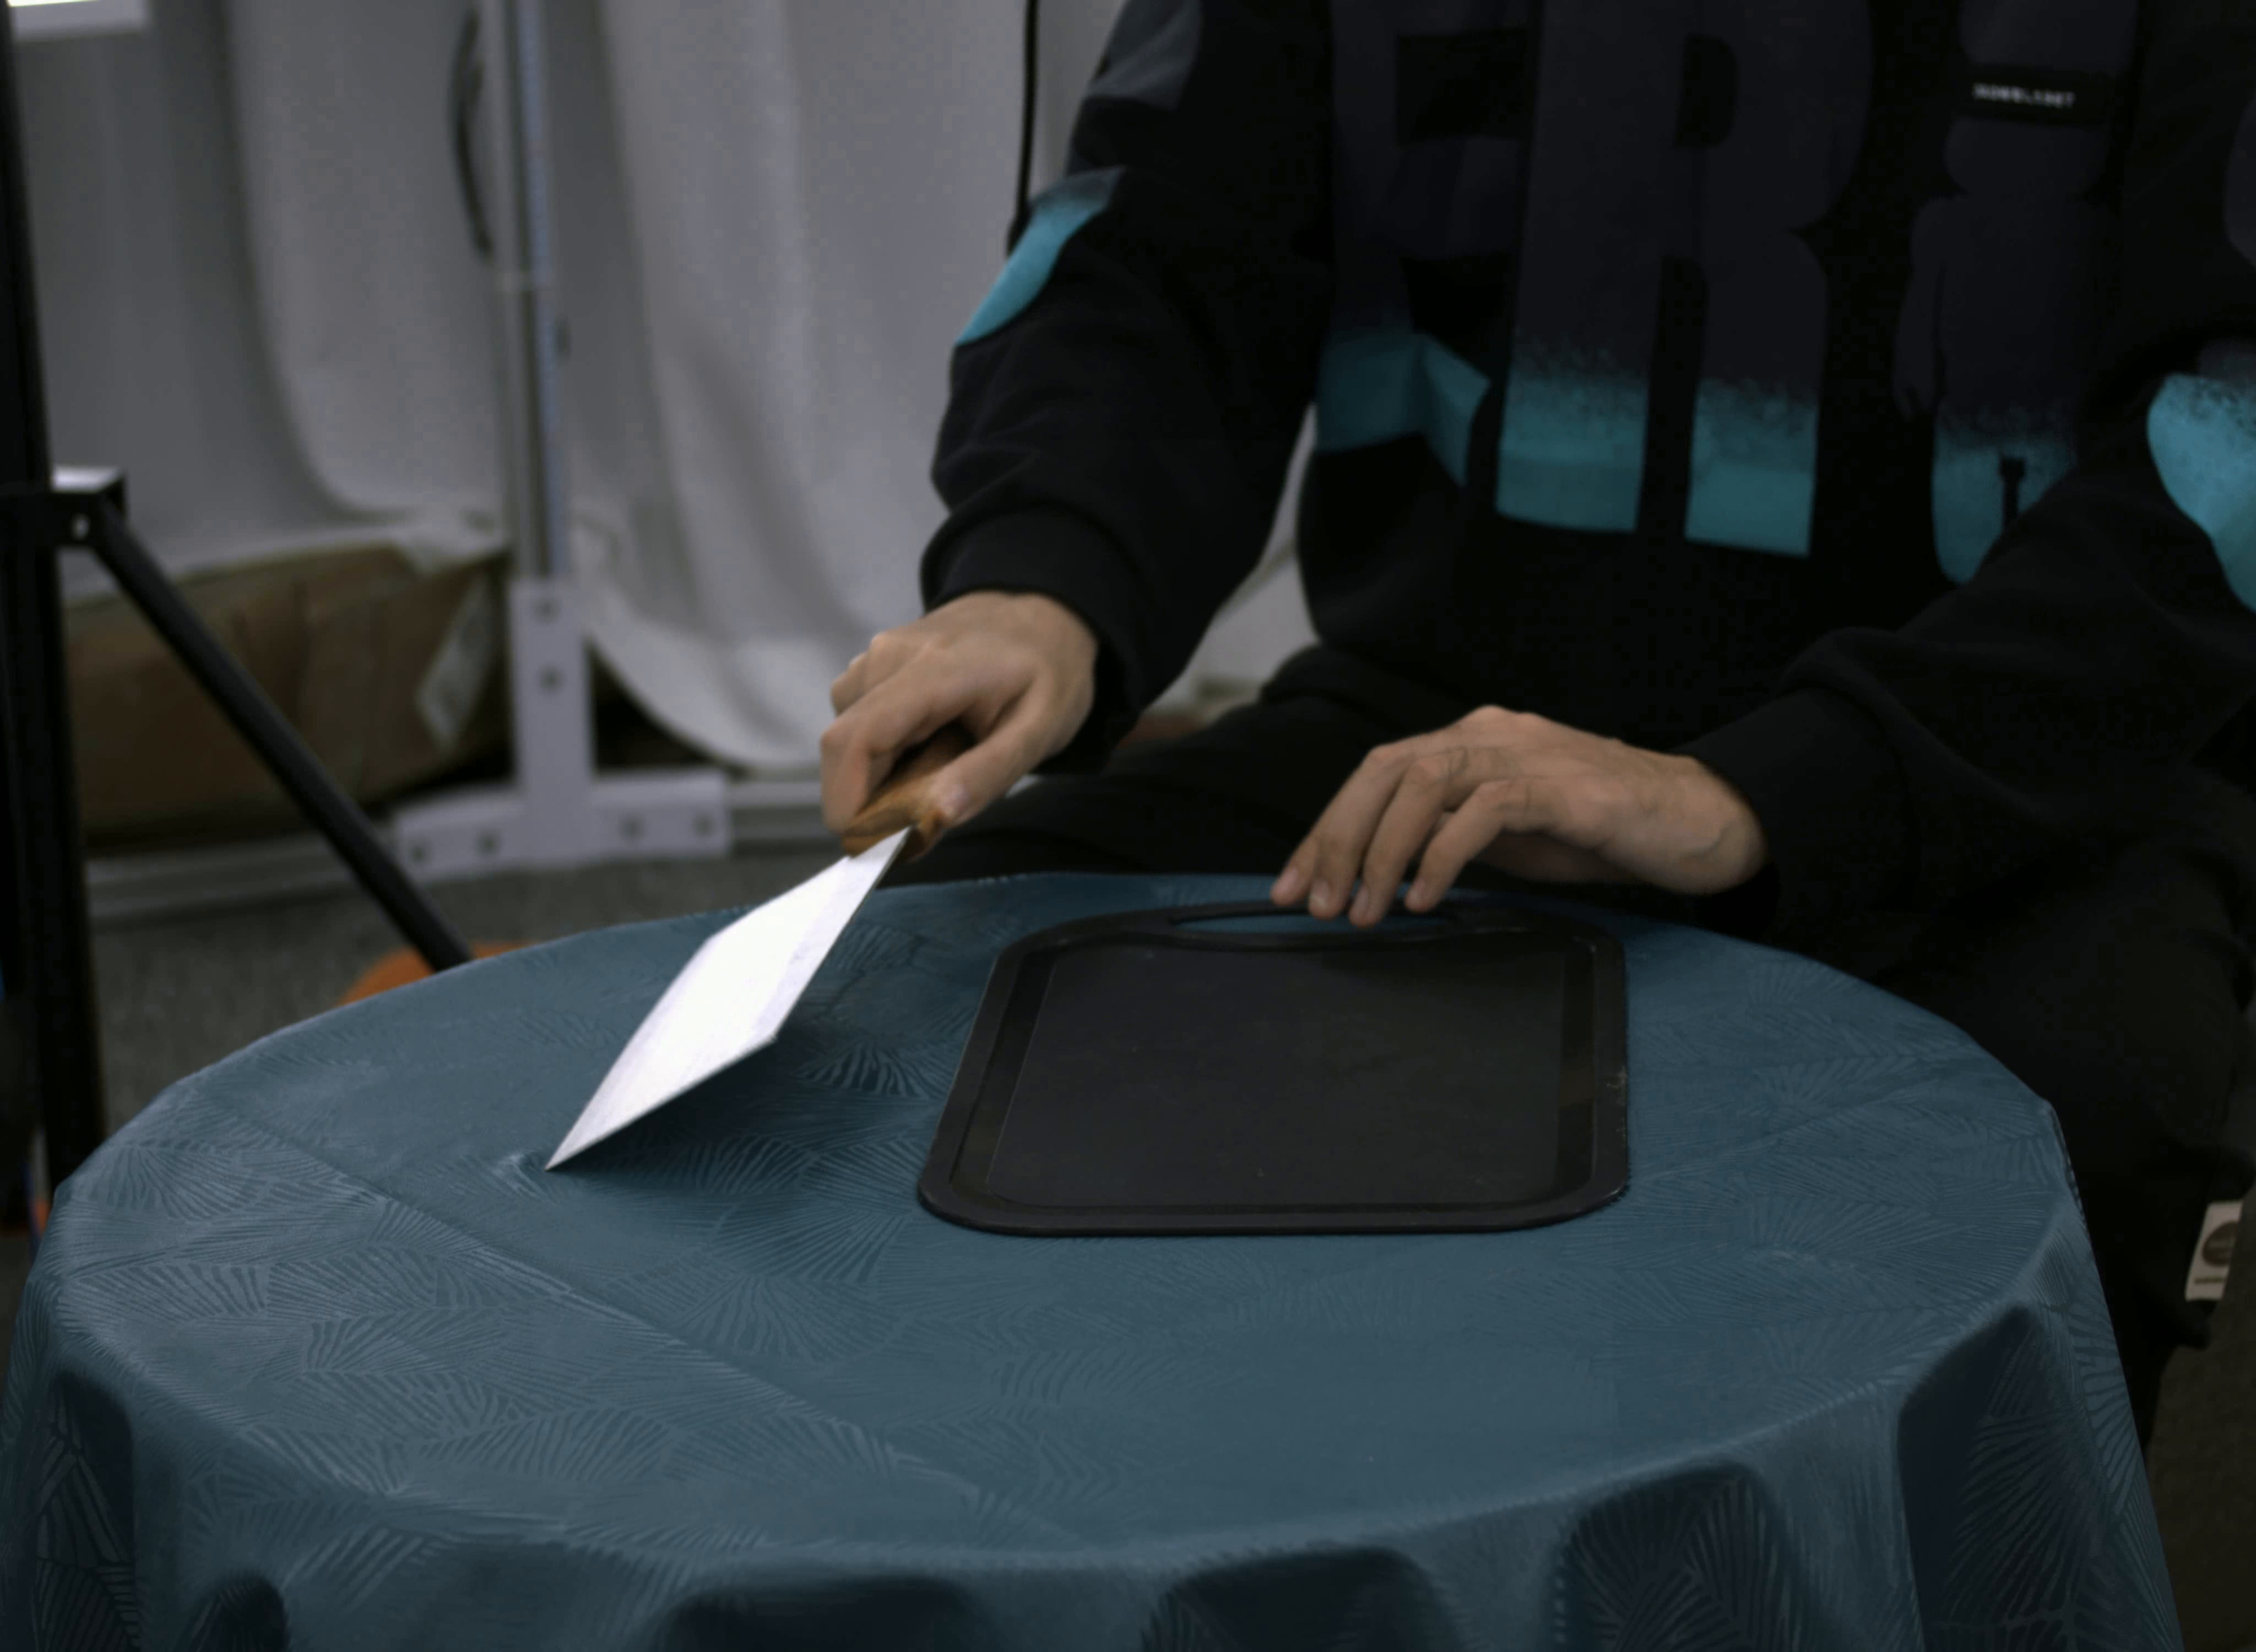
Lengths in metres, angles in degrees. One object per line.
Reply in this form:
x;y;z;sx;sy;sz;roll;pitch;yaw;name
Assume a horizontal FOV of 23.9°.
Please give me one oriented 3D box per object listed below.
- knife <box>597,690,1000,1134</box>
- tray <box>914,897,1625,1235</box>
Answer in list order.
-0.106;0.028;1.724;0.094;0.021;0.304;-33;10;21;knife
0.051;0.070;1.671;0.211;0.010;0.325;-1;16;7;tray
